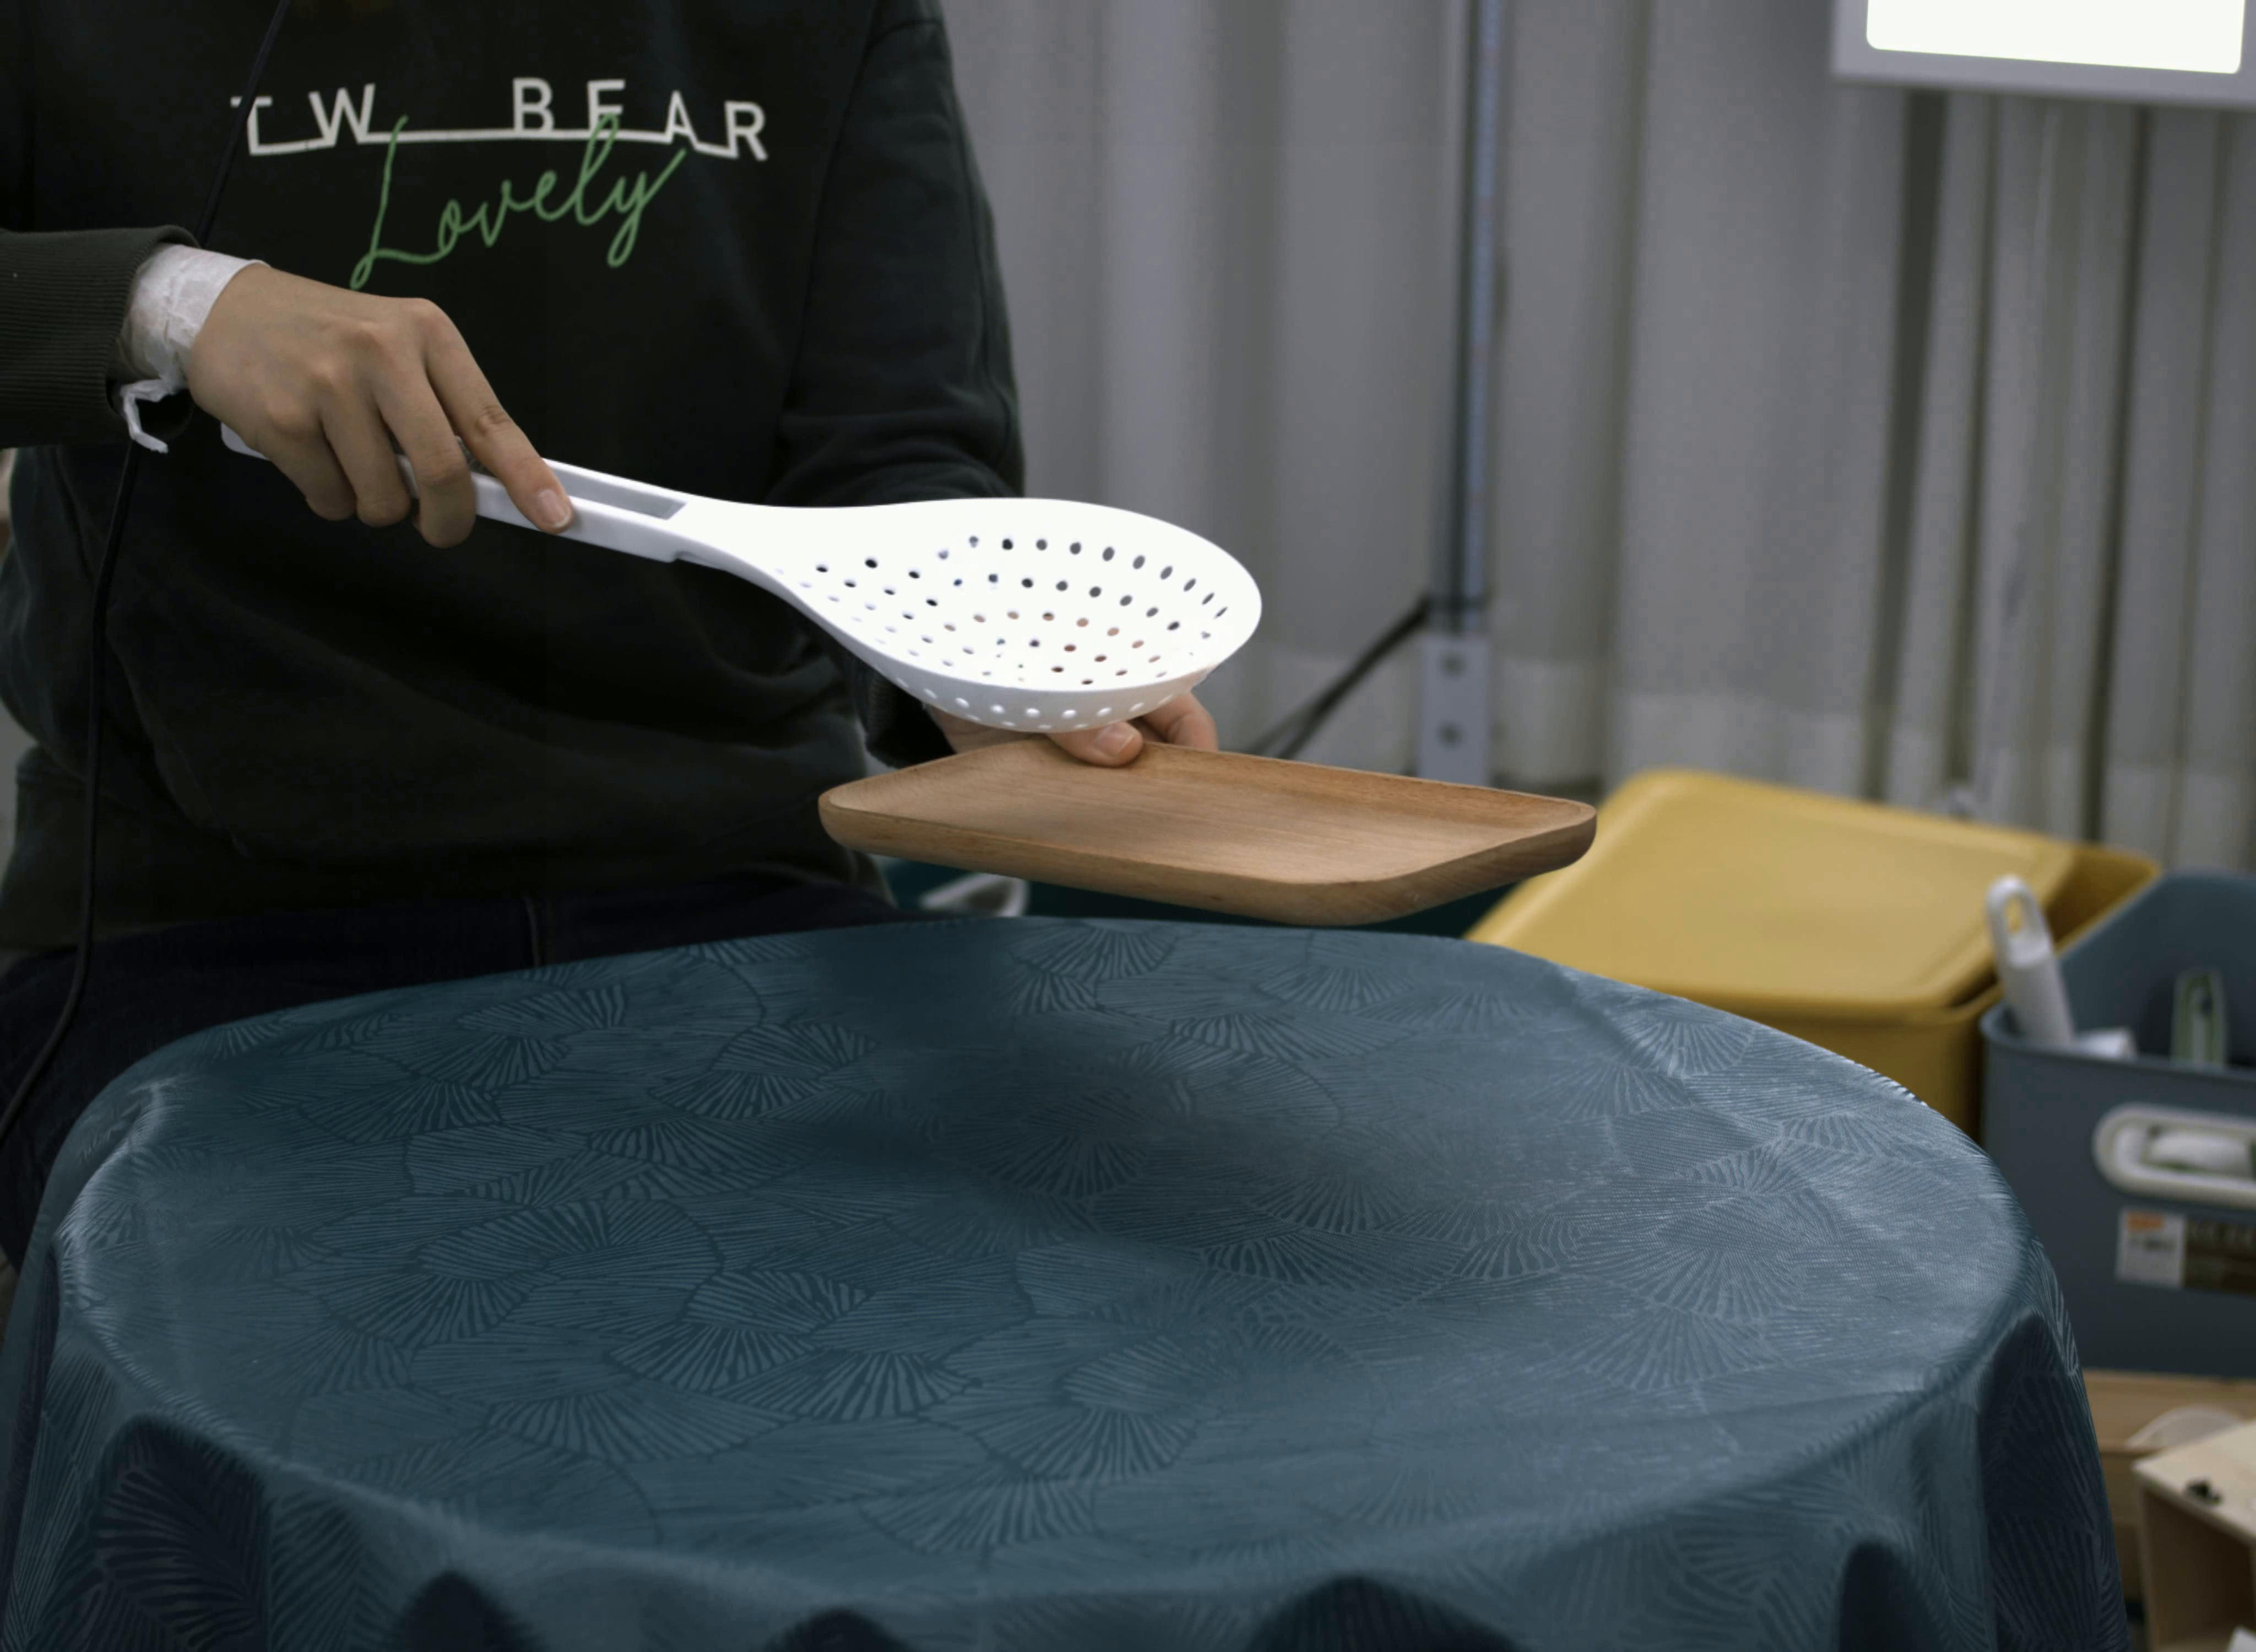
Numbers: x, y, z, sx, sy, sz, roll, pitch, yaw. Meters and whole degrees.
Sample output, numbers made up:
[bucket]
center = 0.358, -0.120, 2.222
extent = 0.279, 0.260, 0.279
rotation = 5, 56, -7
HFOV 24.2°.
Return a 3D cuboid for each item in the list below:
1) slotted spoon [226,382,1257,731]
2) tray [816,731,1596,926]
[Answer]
[slotted spoon]
center = -0.127, -0.092, 1.657
extent = 0.347, 0.046, 0.136
rotation = 19, 29, 14
[tray]
center = 0.021, -0.001, 1.635
extent = 0.131, 0.023, 0.247
rotation = -12, 14, -43
